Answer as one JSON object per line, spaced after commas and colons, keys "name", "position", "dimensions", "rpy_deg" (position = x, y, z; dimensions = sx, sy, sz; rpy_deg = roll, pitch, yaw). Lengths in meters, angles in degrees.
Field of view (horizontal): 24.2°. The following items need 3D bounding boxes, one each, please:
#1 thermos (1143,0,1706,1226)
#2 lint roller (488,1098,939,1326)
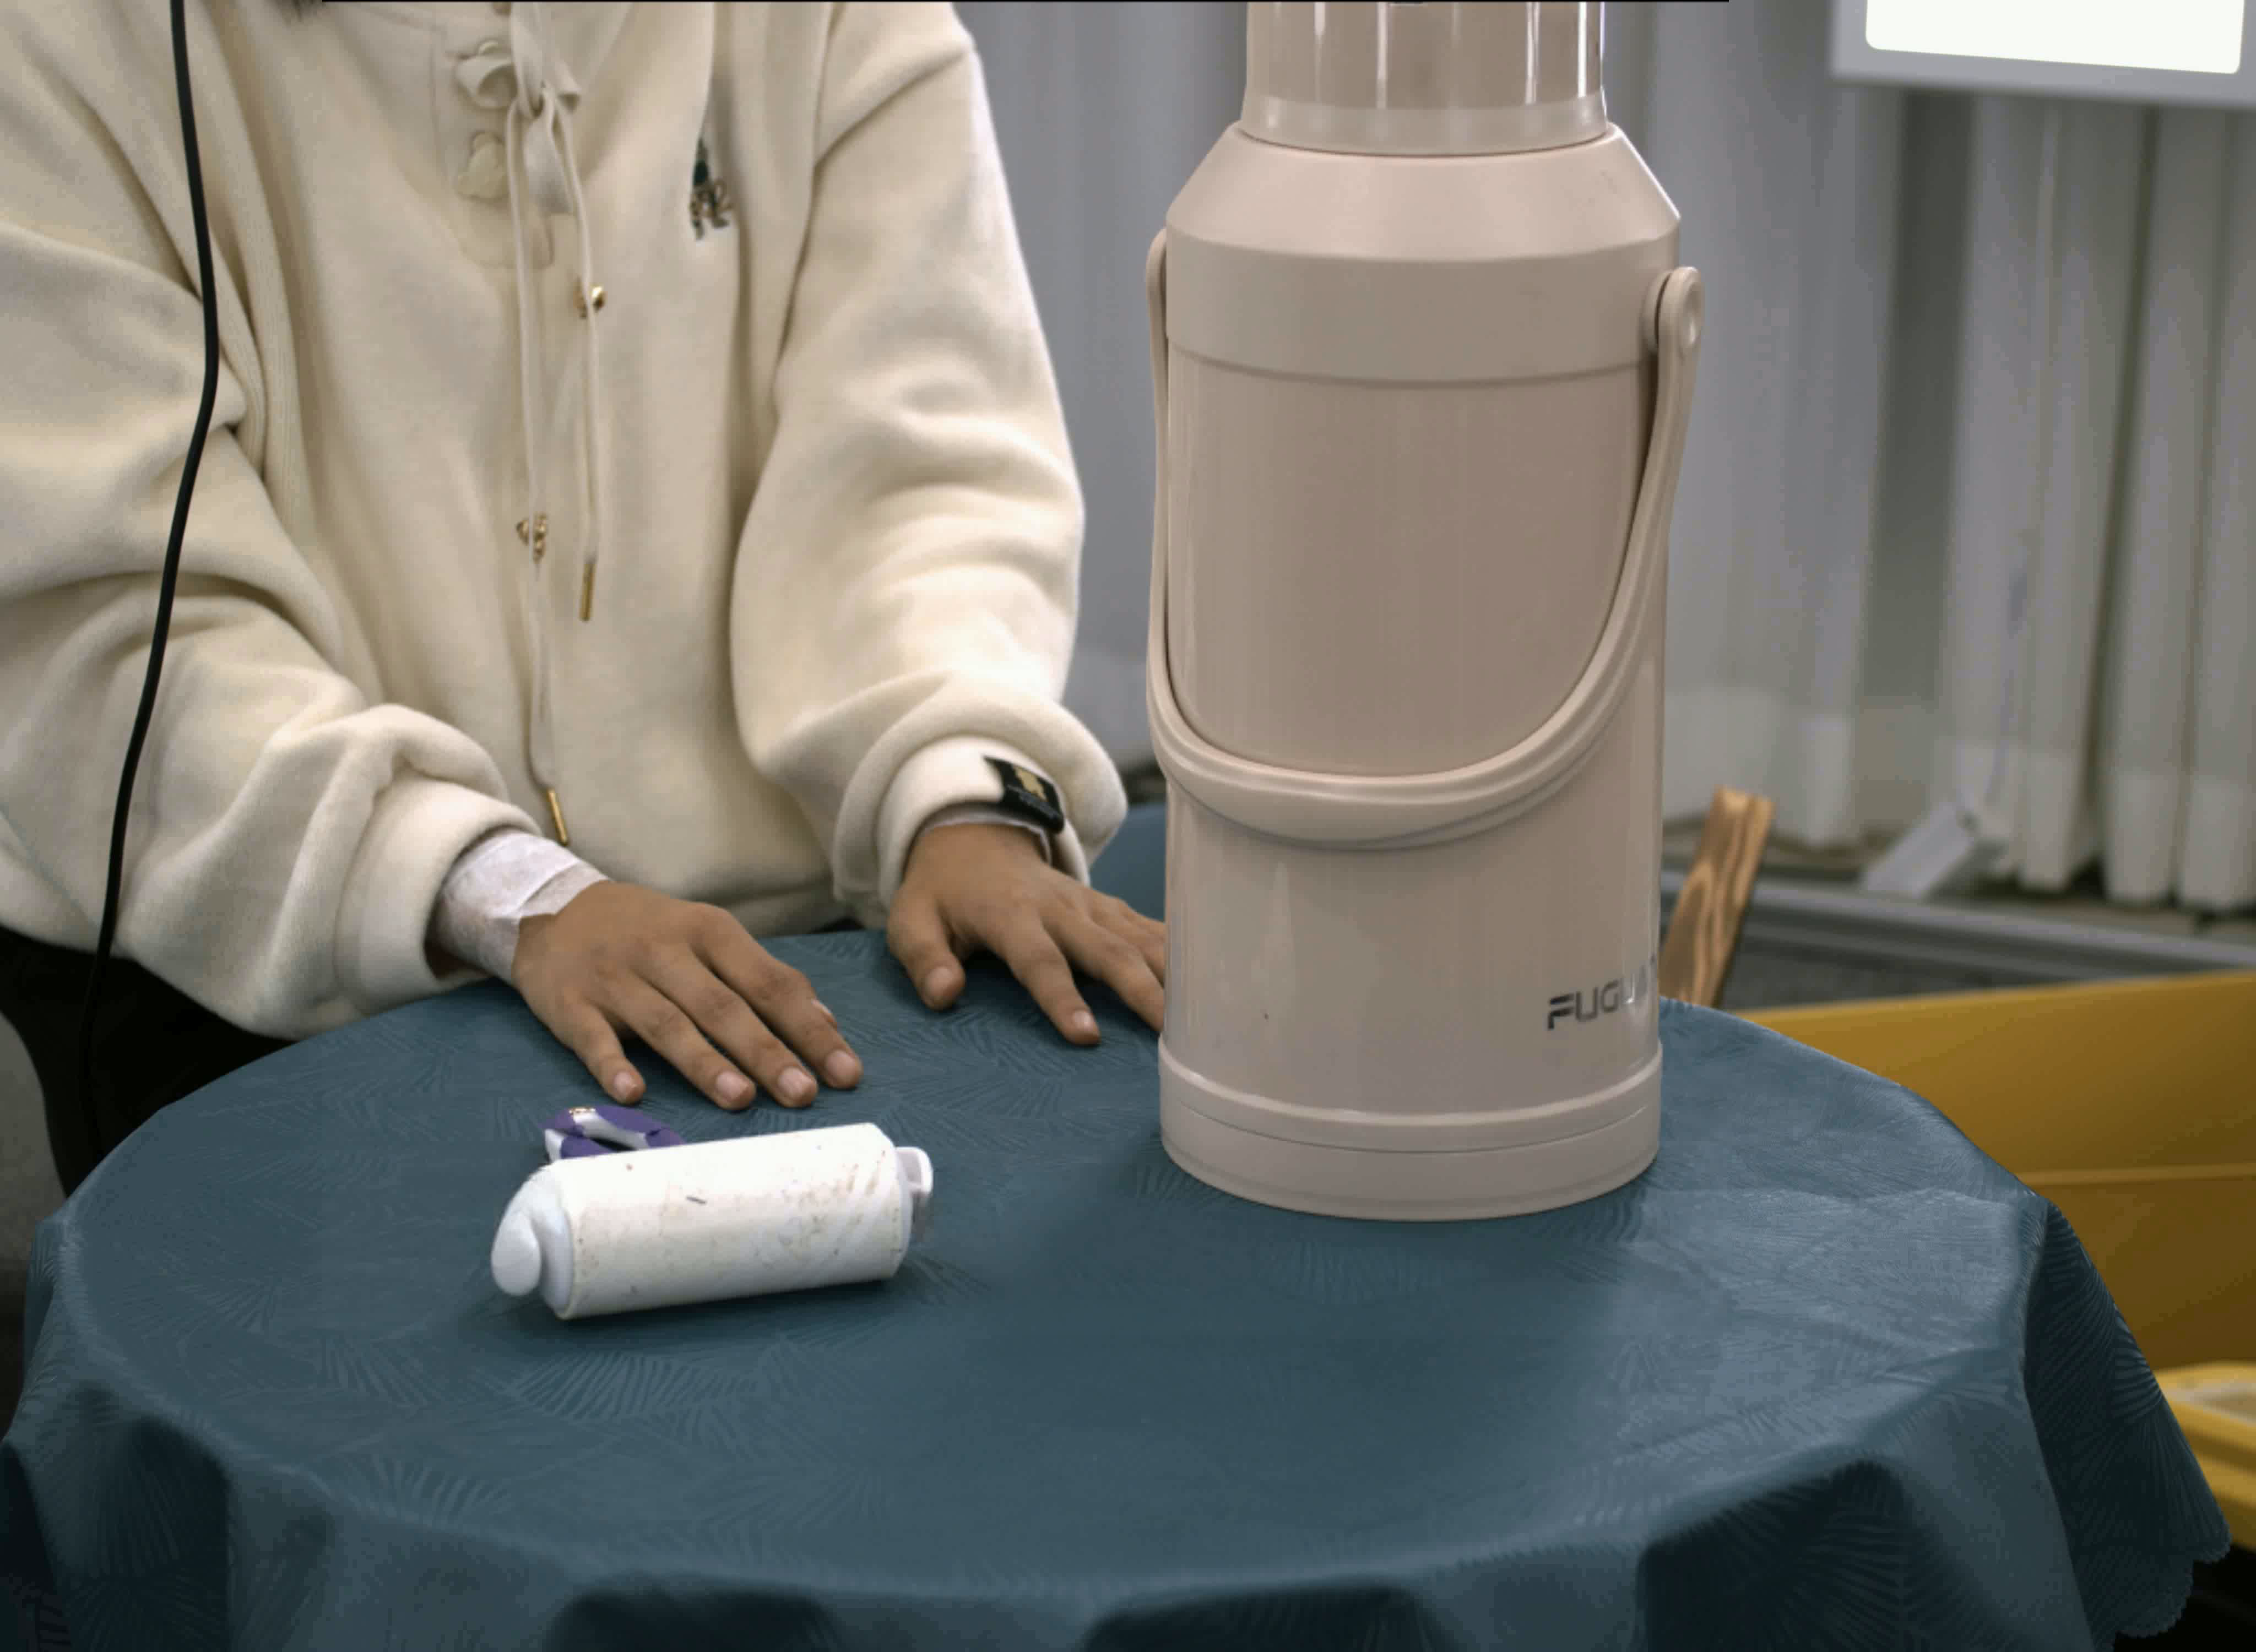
{"name": "thermos", "position": [0.096, -0.094, 1.625], "dimensions": [0.173, 0.409, 0.207], "rpy_deg": [7, 17, 25]}
{"name": "lint roller", "position": [-0.139, 0.097, 1.581], "dimensions": [0.133, 0.050, 0.179], "rpy_deg": [-6, 19, -18]}
